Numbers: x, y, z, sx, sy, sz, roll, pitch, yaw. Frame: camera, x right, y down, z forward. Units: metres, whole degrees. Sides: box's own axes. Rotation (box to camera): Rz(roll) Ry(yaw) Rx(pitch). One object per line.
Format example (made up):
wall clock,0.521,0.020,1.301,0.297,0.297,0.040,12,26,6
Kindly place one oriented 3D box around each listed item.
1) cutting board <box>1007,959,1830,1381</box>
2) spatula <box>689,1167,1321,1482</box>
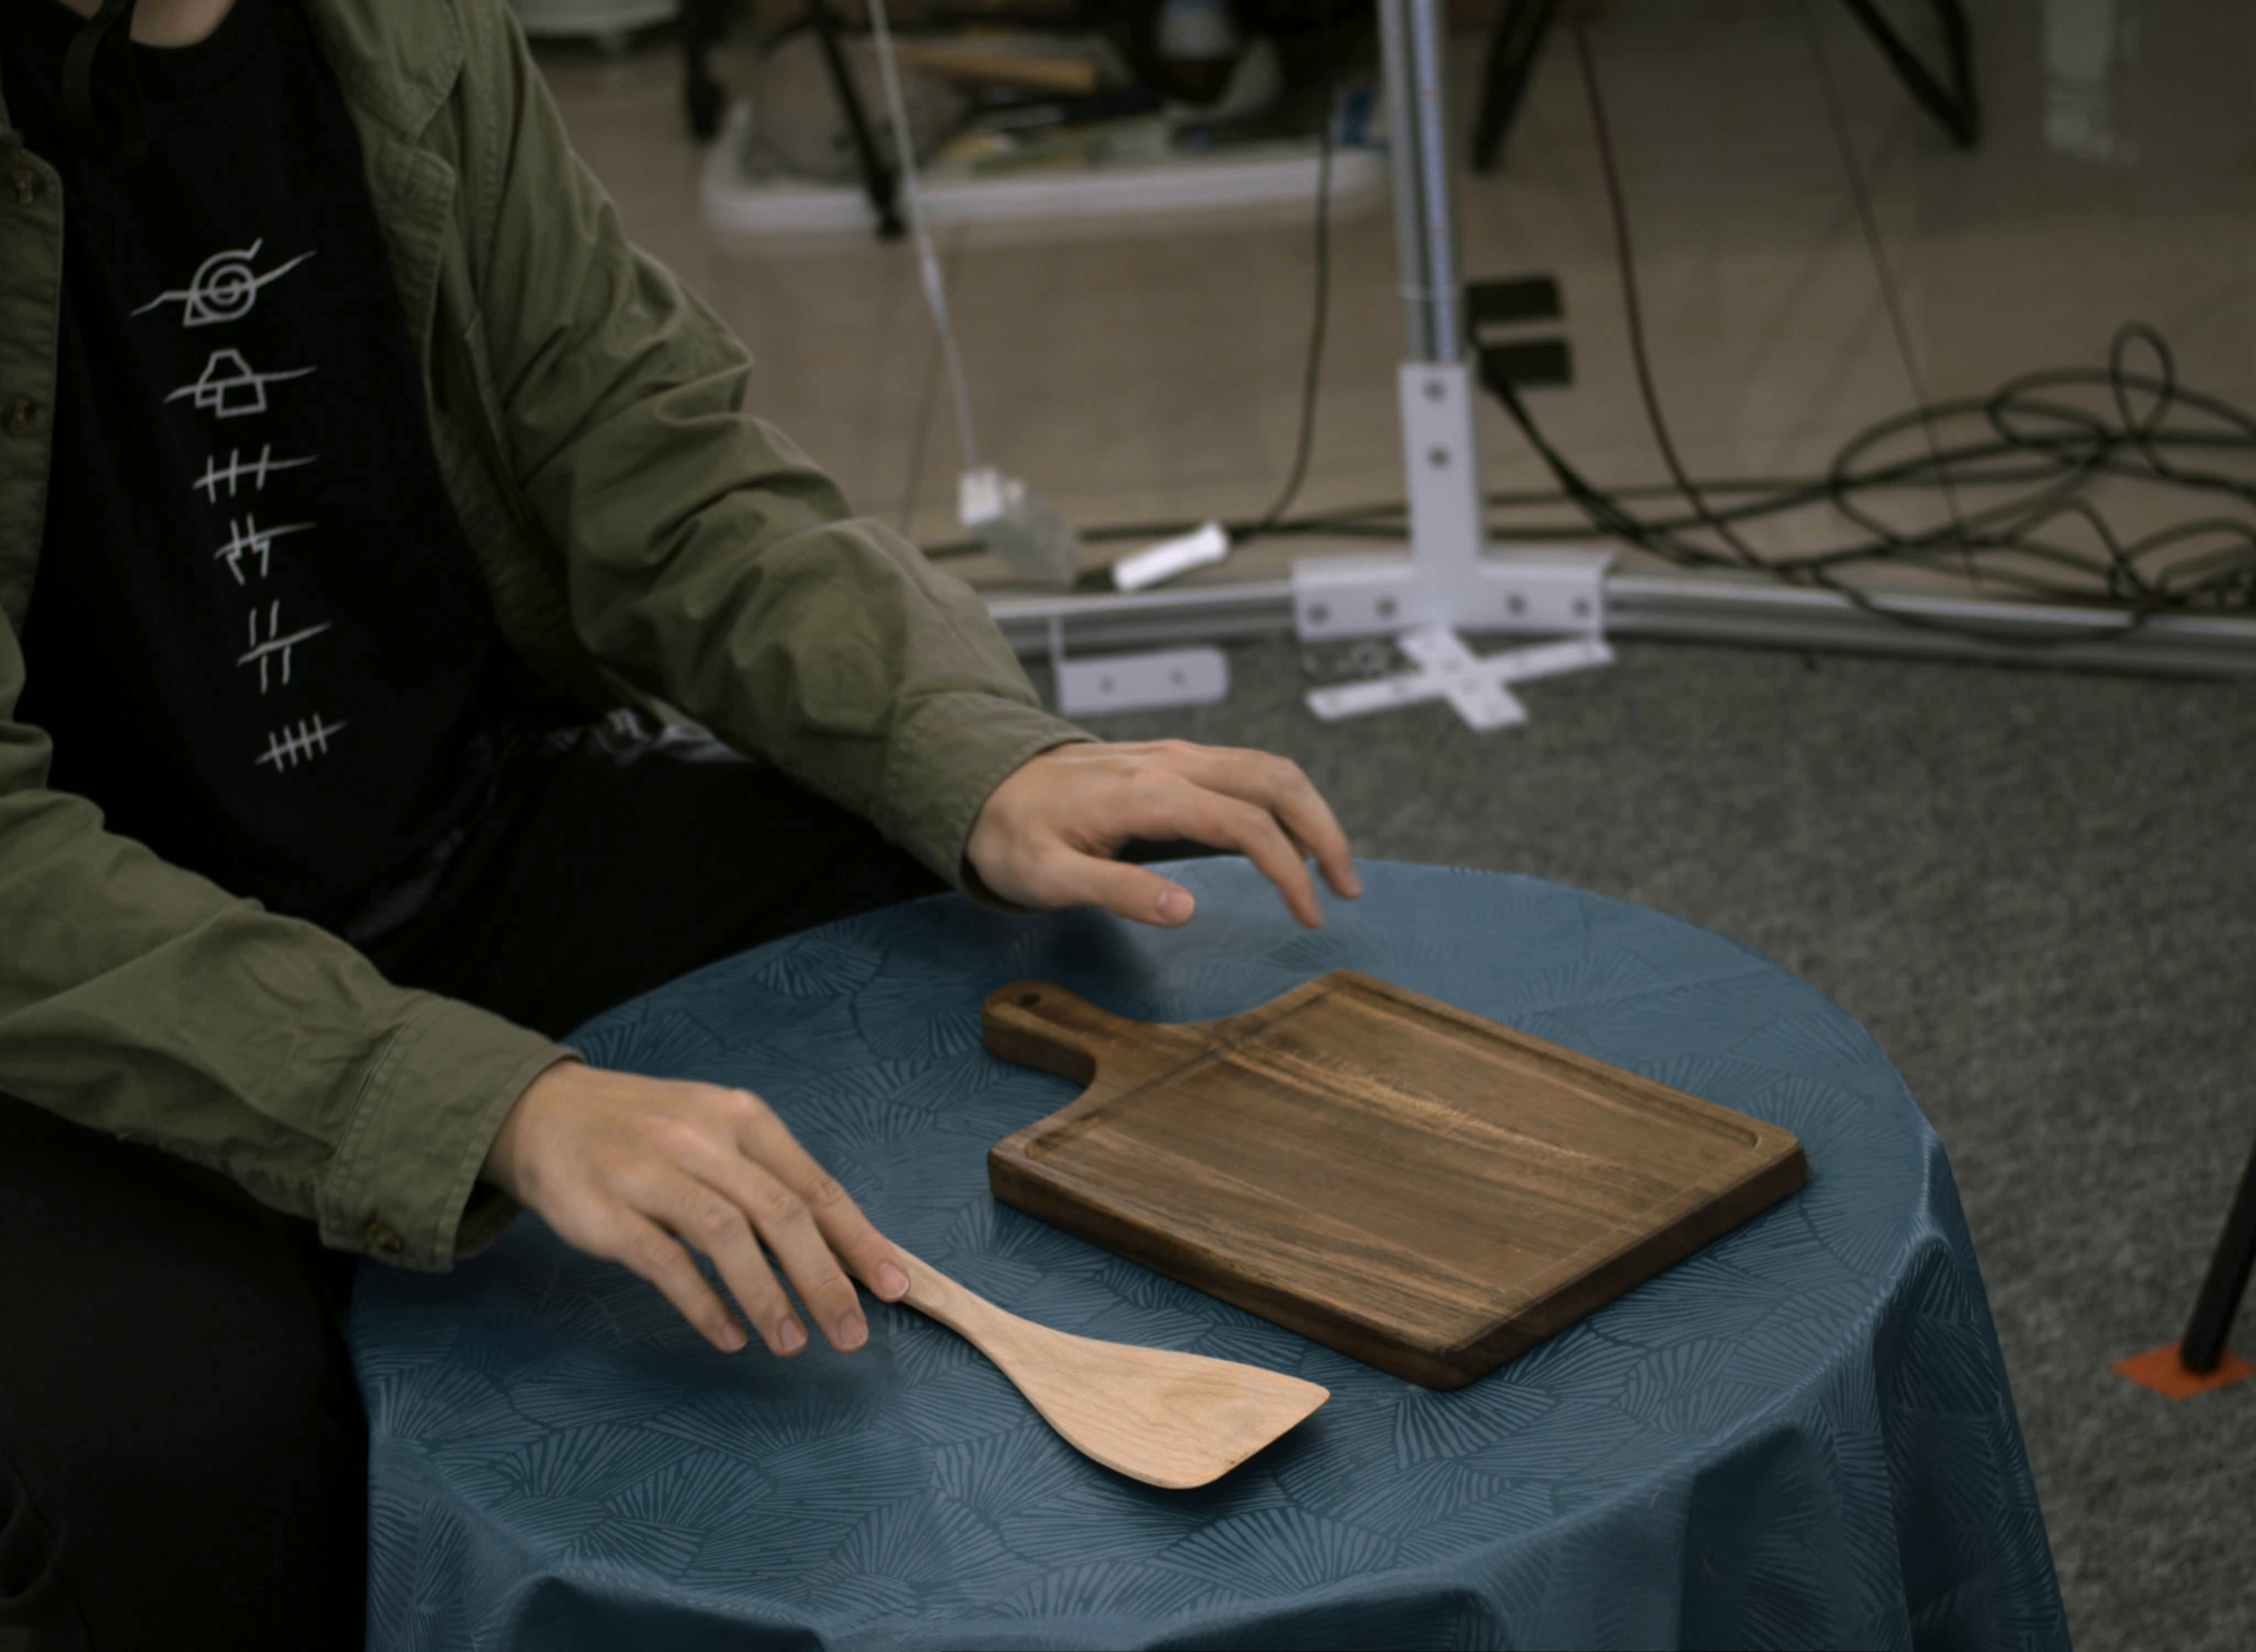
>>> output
cutting board,0.076,0.111,2.166,0.199,0.023,0.349,-25,31,-35
spatula,-0.057,0.174,2.071,0.079,0.017,0.325,-25,31,-35
